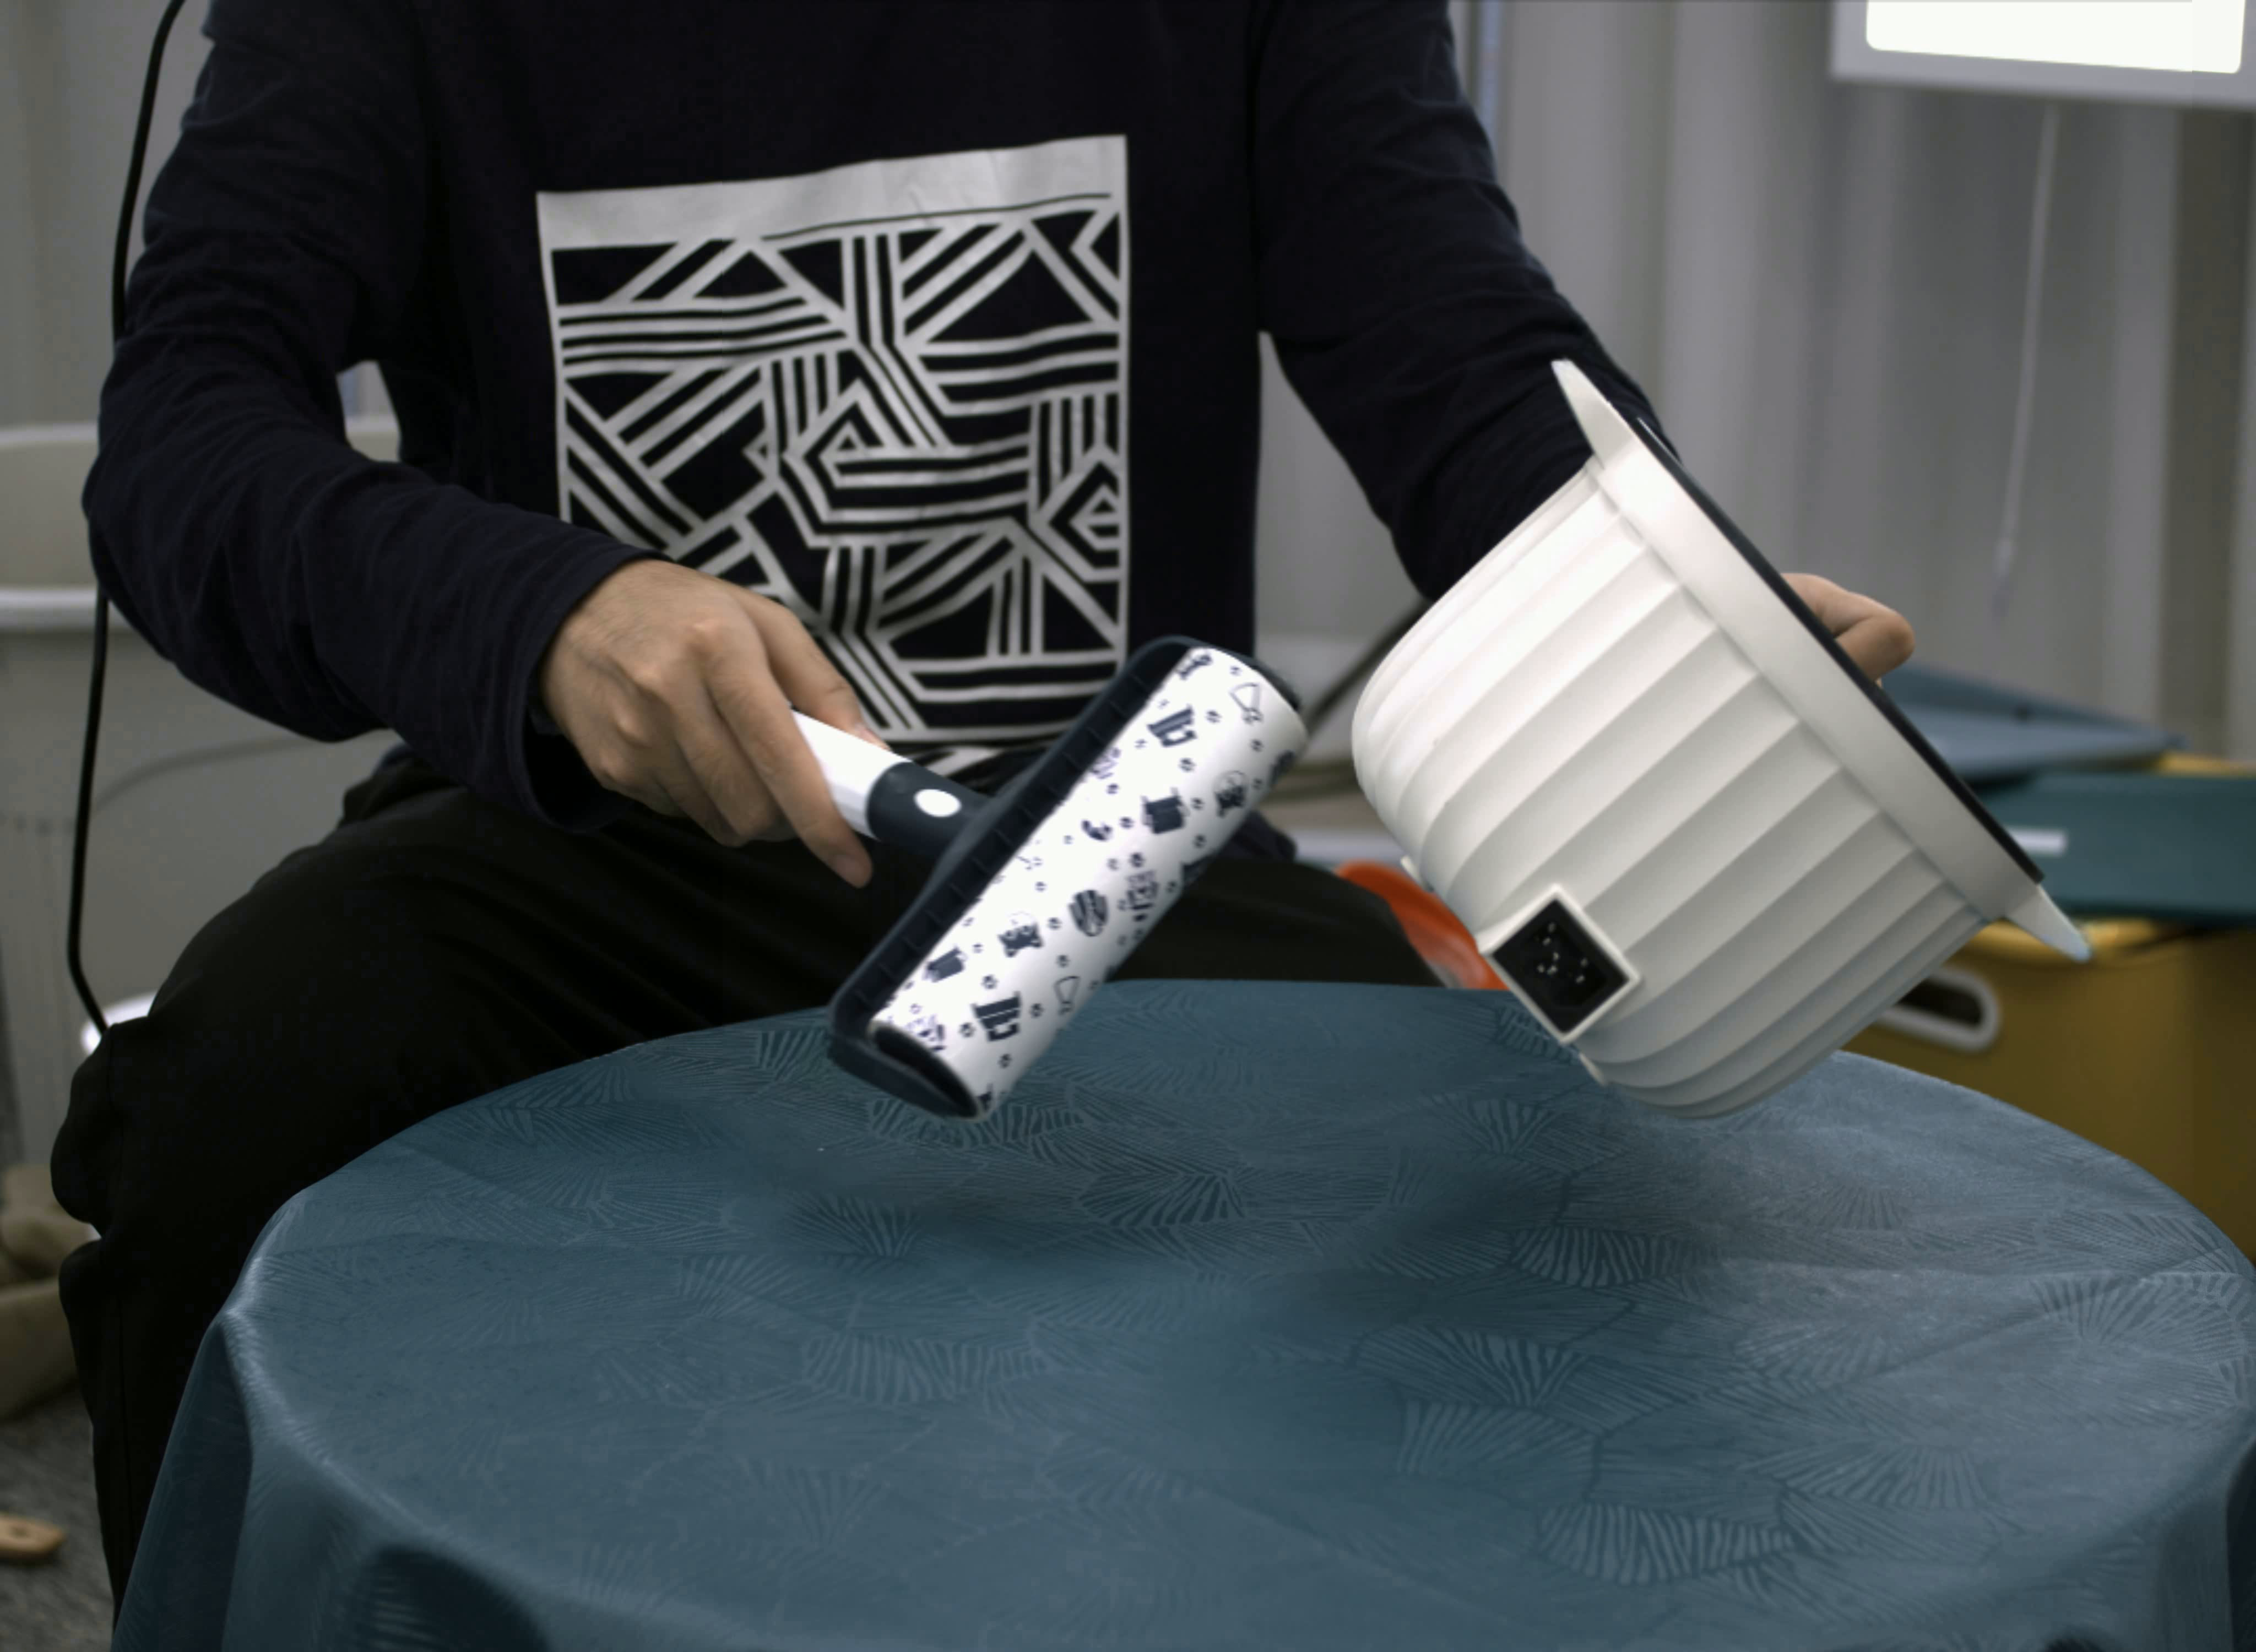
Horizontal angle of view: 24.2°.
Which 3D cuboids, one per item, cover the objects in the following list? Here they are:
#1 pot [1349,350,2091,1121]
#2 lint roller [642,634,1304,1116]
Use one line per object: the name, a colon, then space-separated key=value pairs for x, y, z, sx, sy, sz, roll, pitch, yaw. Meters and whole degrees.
pot: x=0.158 y=-0.011 z=1.554 sx=0.142 sy=0.241 sz=0.190 roll=-40 pitch=9 yaw=10
lint roller: x=-0.079 y=-0.010 z=1.678 sx=0.243 sy=0.051 sz=0.176 roll=21 pitch=63 yaw=42
